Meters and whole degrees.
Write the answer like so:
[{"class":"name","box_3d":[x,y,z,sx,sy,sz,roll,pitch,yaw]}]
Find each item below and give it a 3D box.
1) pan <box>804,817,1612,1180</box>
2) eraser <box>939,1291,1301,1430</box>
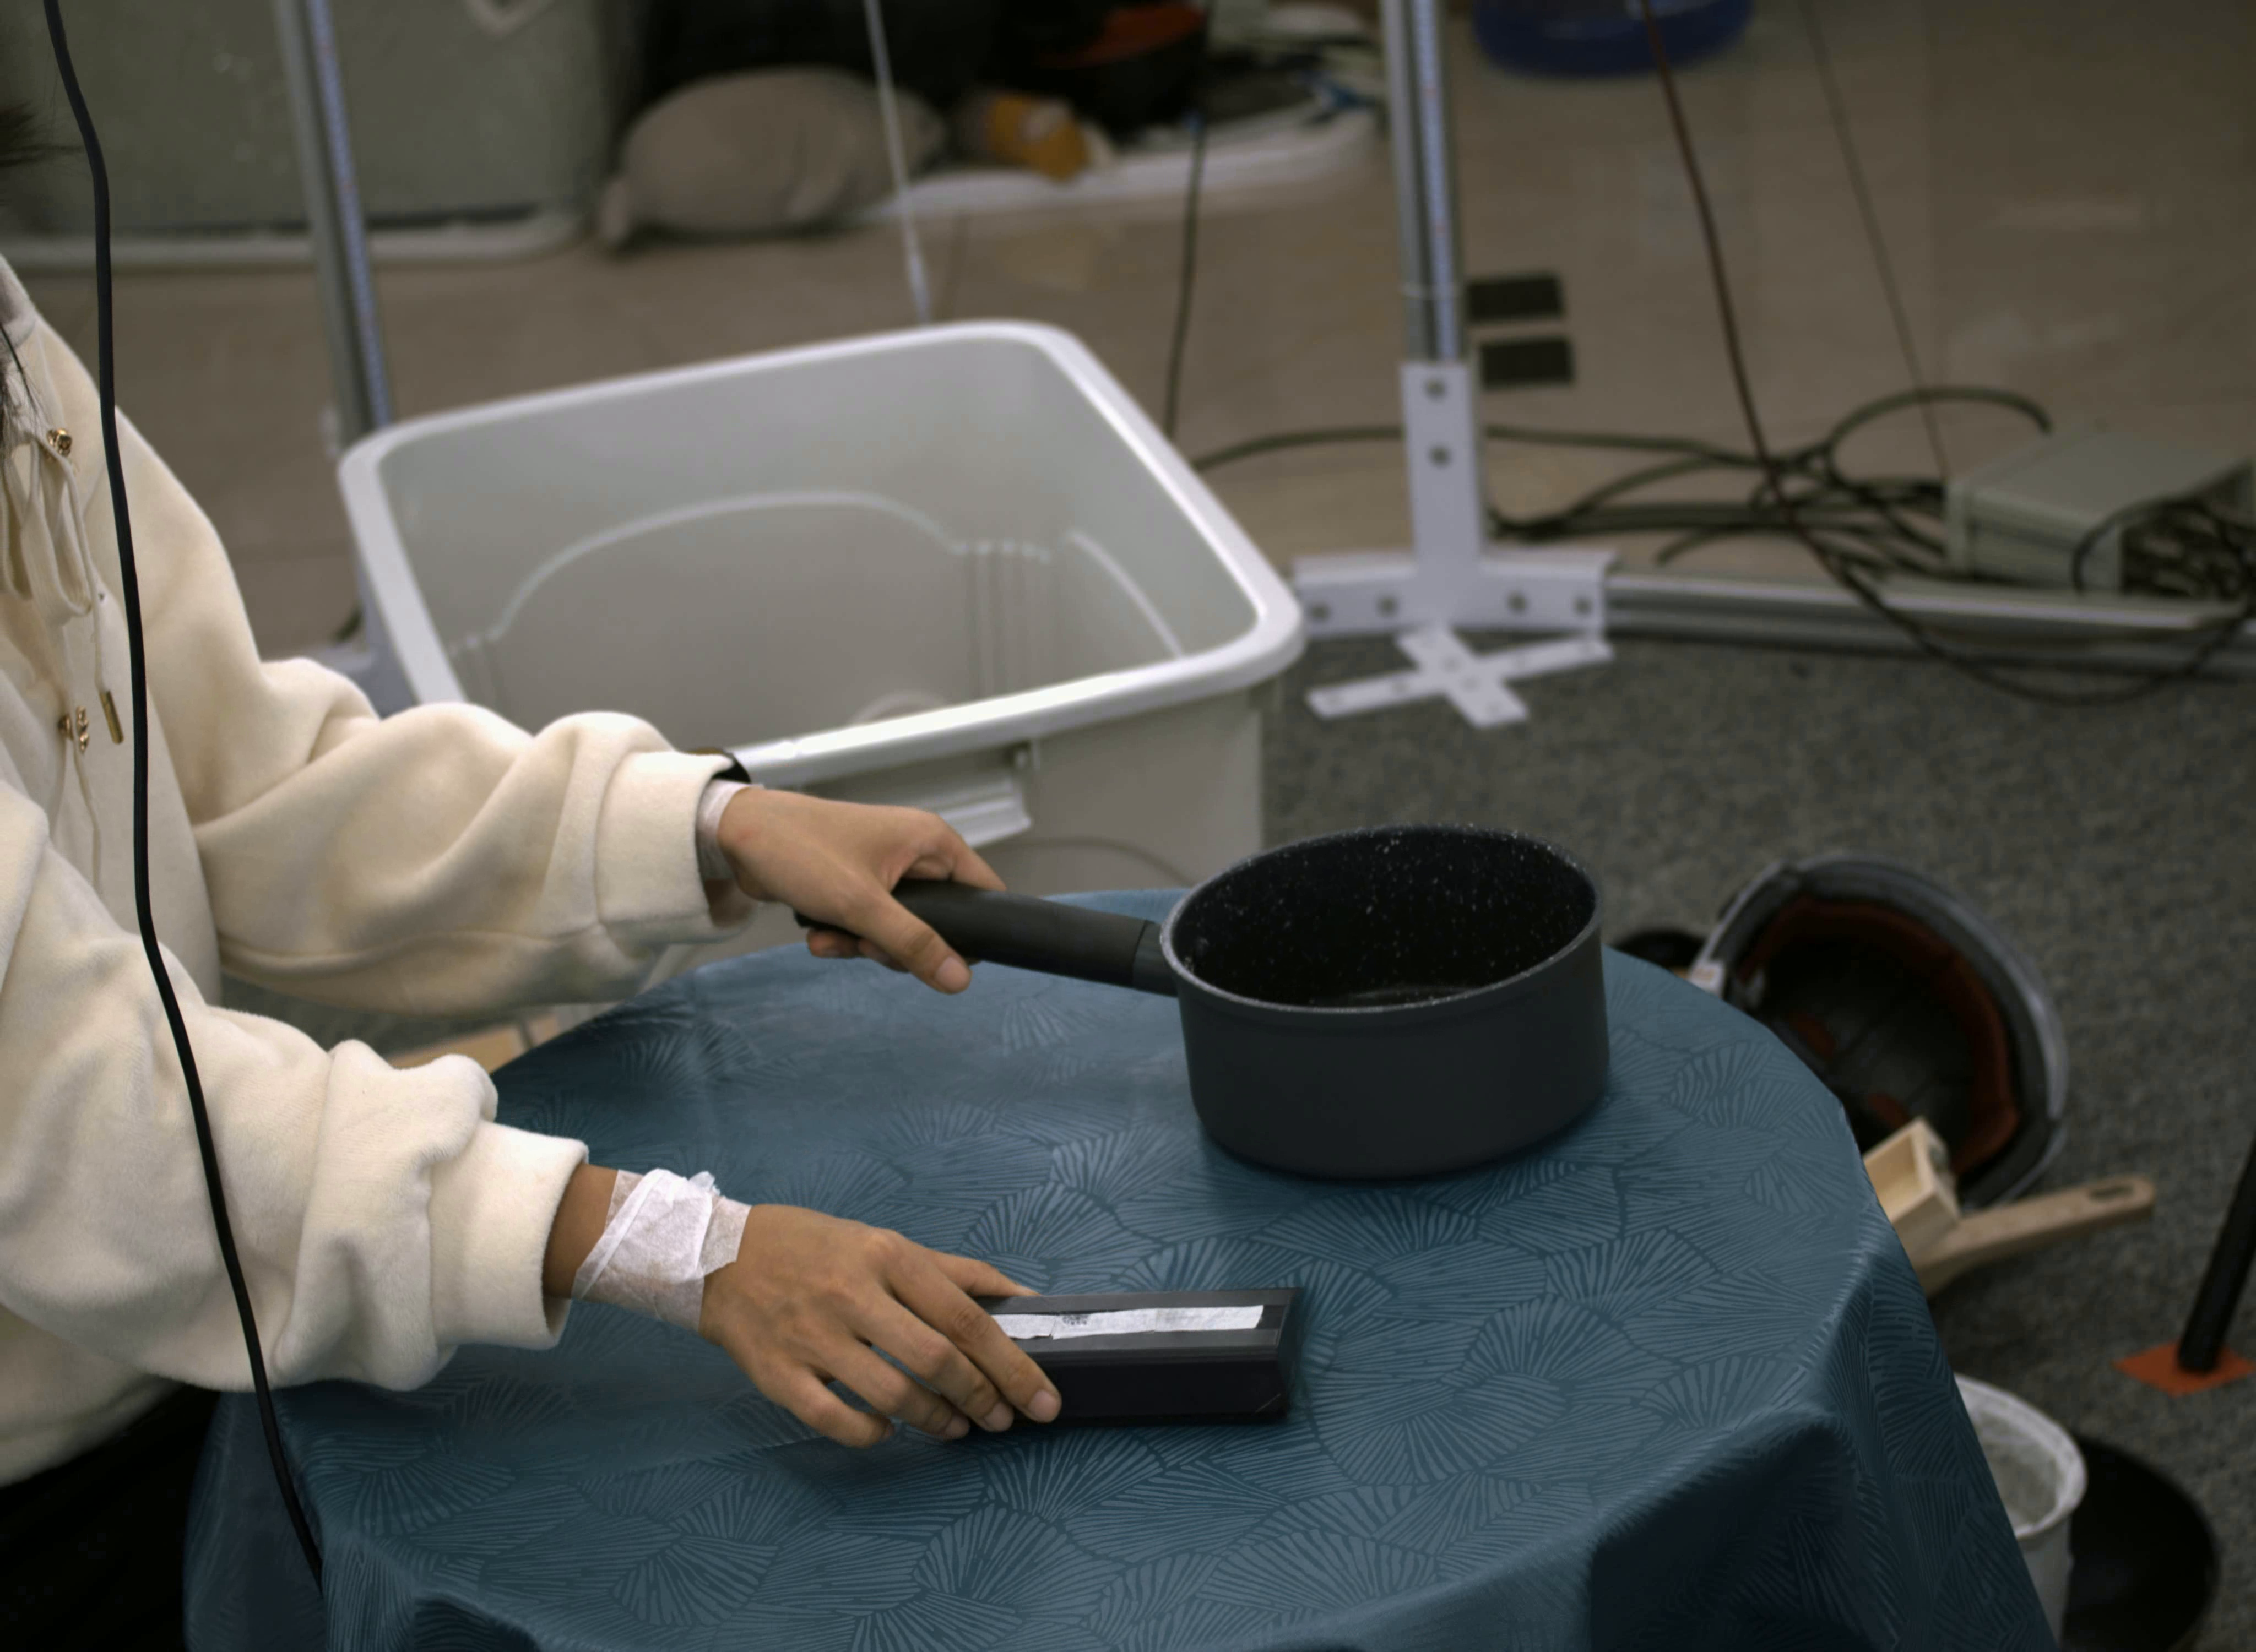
[{"class":"pan","box_3d":[0.028,0.060,2.209,0.328,0.088,0.170,4,26,22]},{"class":"eraser","box_3d":[-0.001,0.189,2.009,0.125,0.031,0.053,-3,21,10]}]
